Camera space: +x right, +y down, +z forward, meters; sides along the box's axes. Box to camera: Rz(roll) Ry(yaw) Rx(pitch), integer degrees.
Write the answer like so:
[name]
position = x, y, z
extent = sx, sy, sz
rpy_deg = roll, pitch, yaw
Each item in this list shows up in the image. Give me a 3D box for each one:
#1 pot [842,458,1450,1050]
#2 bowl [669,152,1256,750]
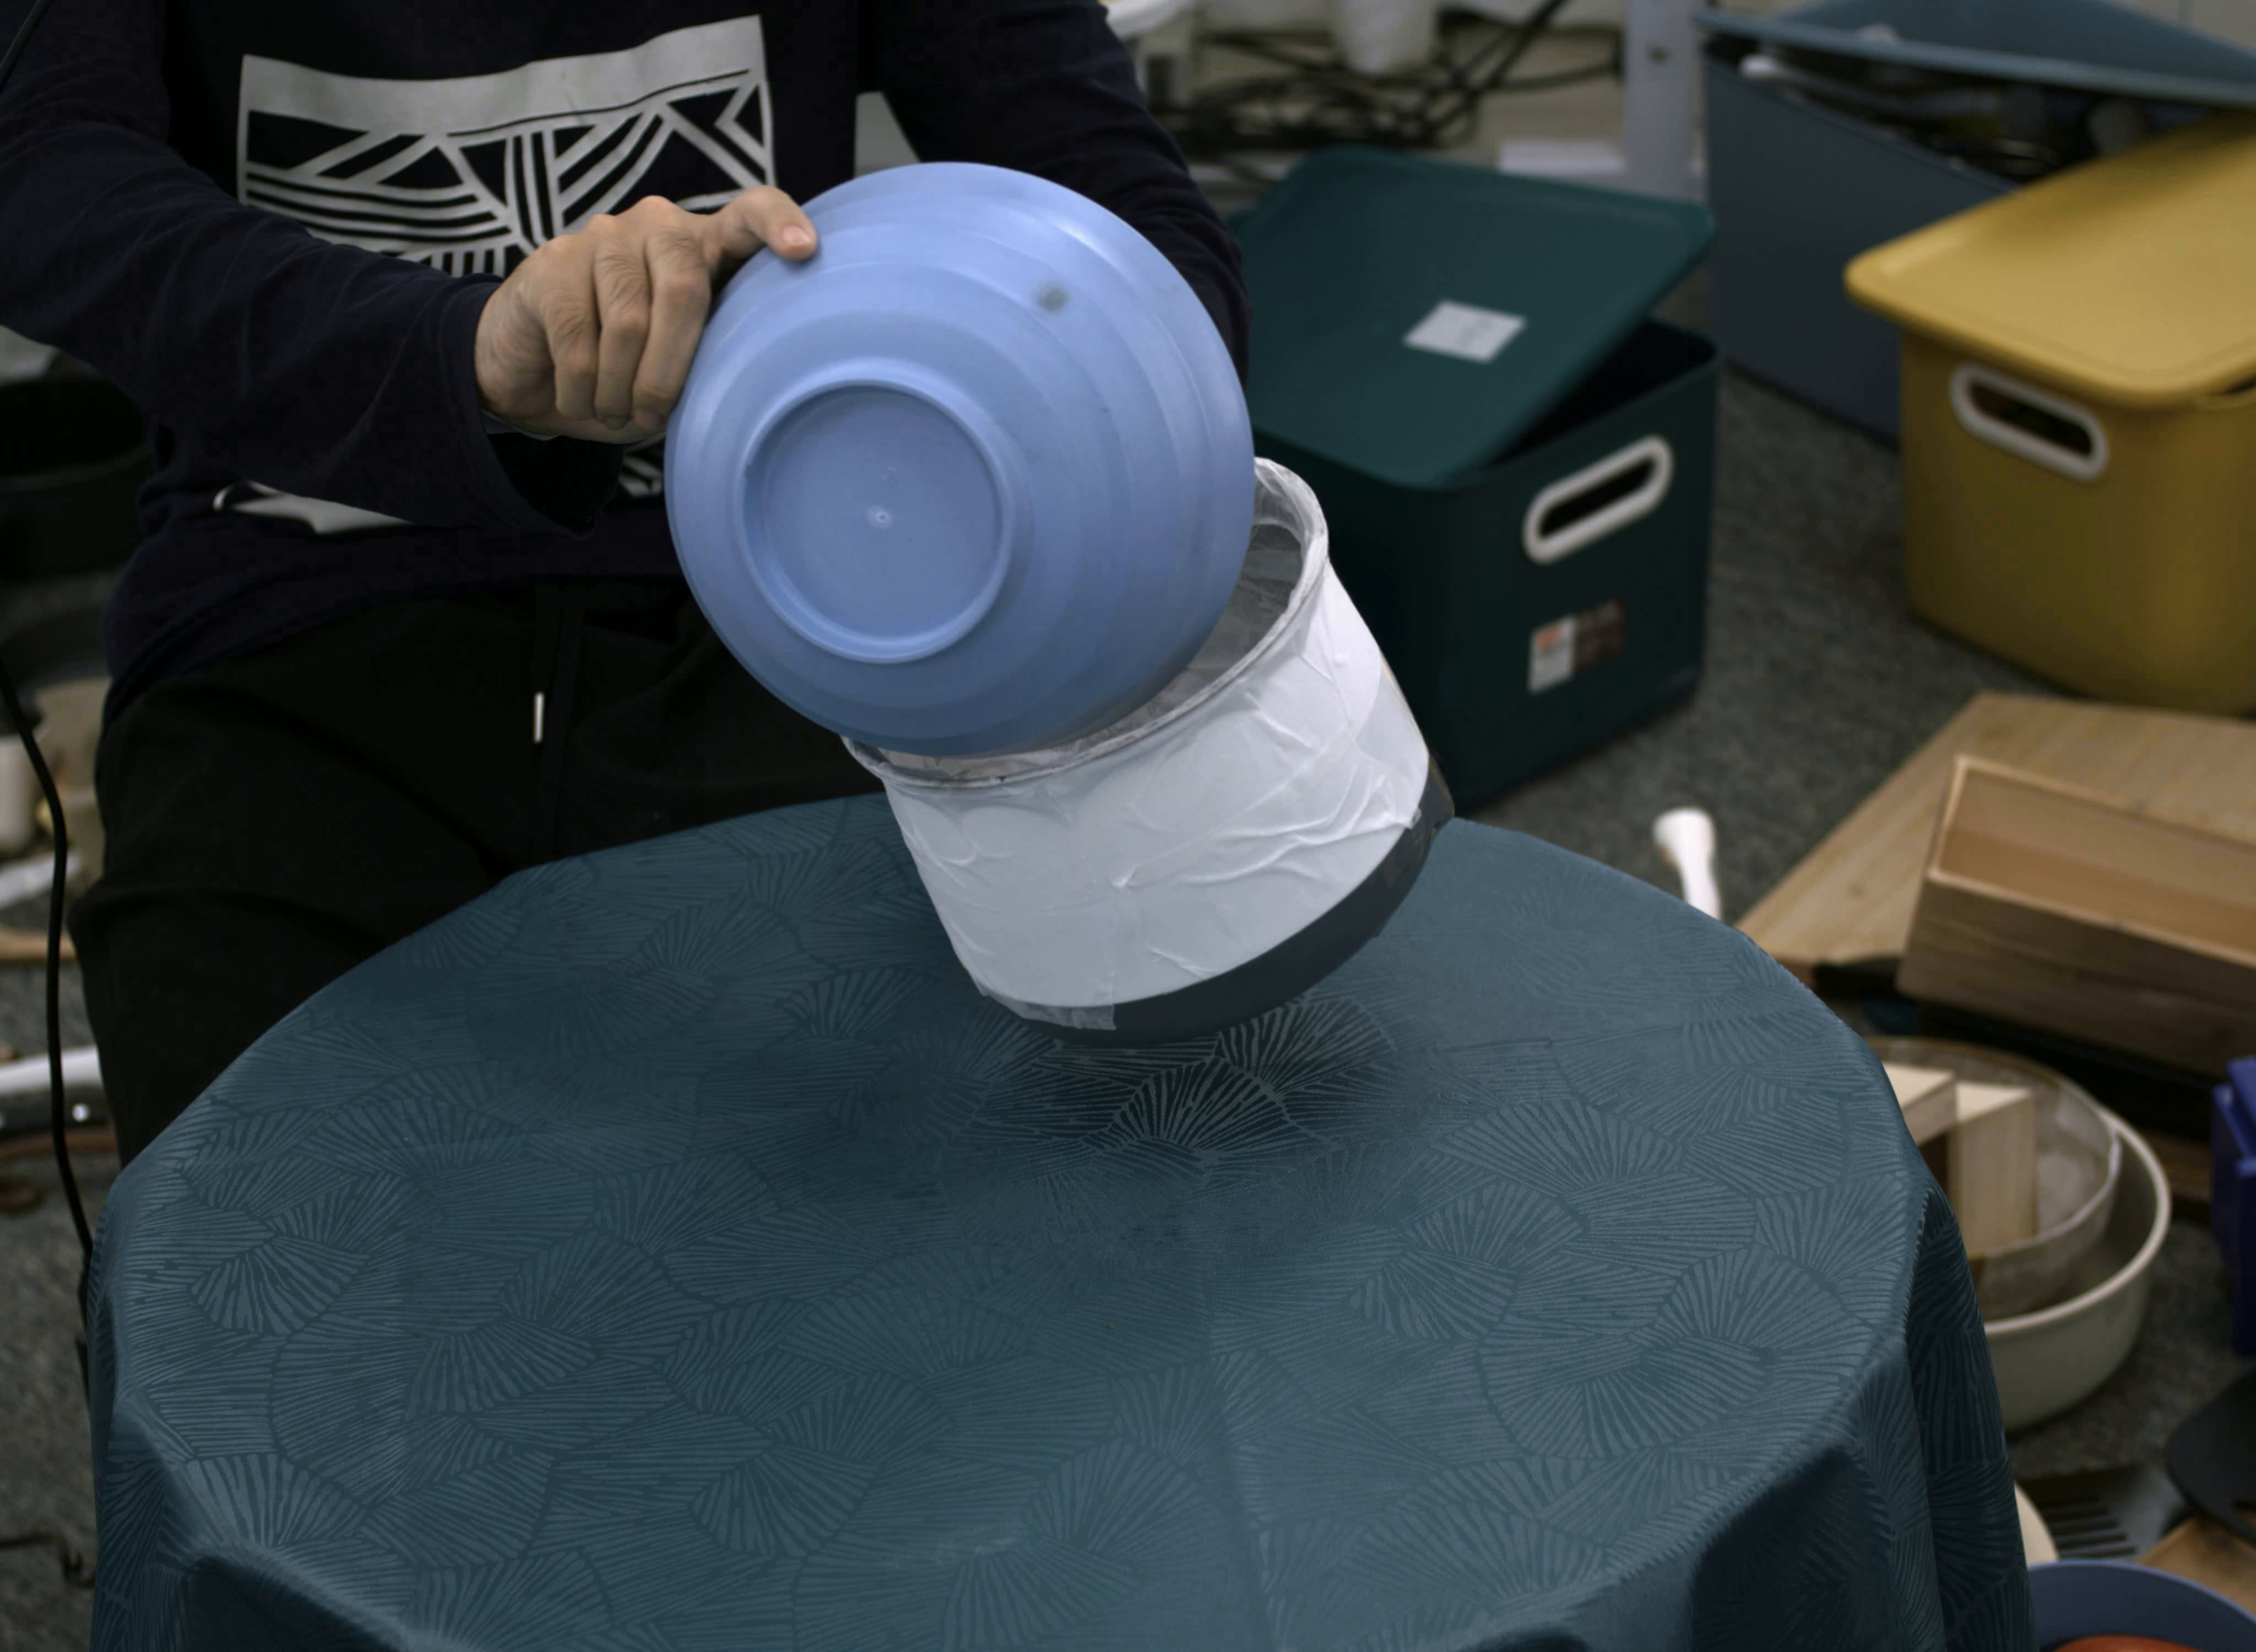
[pot]
position = 0.000, -0.035, 1.914
extent = 0.178, 0.135, 0.236
rpy_deg = -25, 32, -3
[bowl]
position = -0.066, -0.108, 1.789
extent = 0.195, 0.195, 0.096
rpy_deg = 7, 17, 18
